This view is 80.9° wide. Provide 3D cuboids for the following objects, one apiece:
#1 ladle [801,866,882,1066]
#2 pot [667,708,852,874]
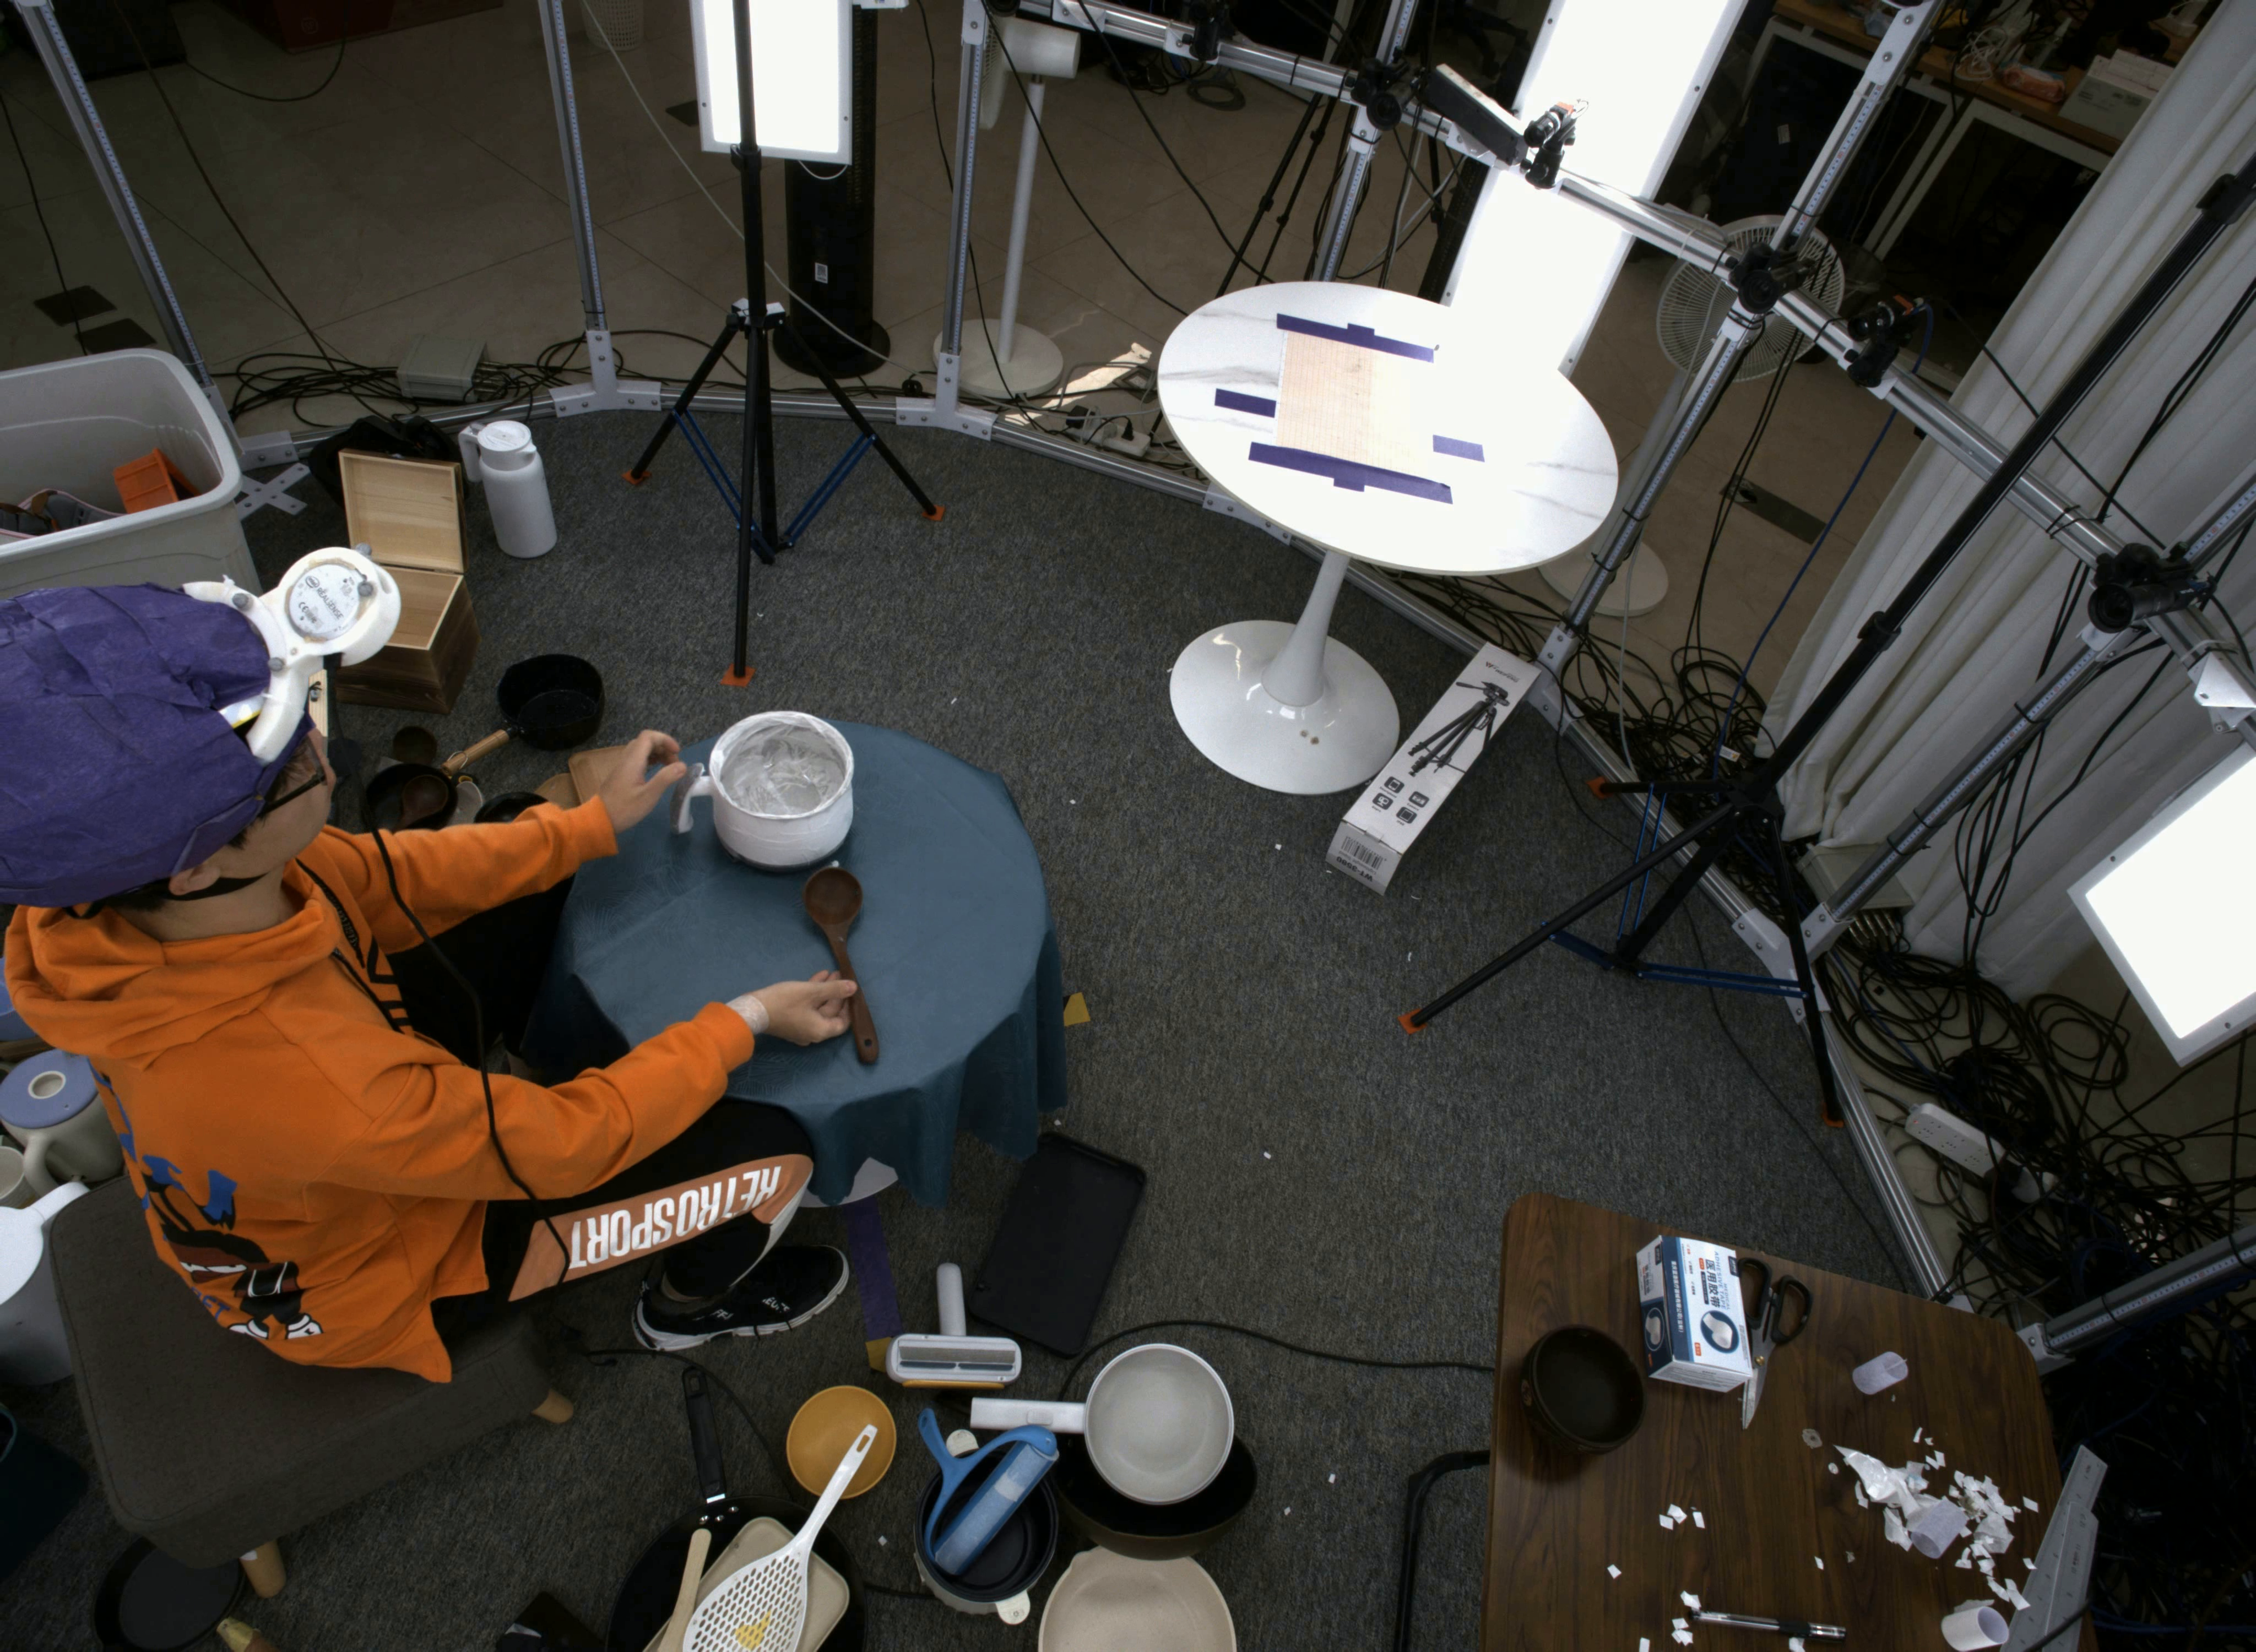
[{"bbox_3d":[-0.339,0.163,1.573,0.077,0.066,0.254,-11,56,-20],"label":"ladle"},{"bbox_3d":[-0.469,-0.039,1.642,0.234,0.139,0.174,-6,54,-18],"label":"pot"}]
